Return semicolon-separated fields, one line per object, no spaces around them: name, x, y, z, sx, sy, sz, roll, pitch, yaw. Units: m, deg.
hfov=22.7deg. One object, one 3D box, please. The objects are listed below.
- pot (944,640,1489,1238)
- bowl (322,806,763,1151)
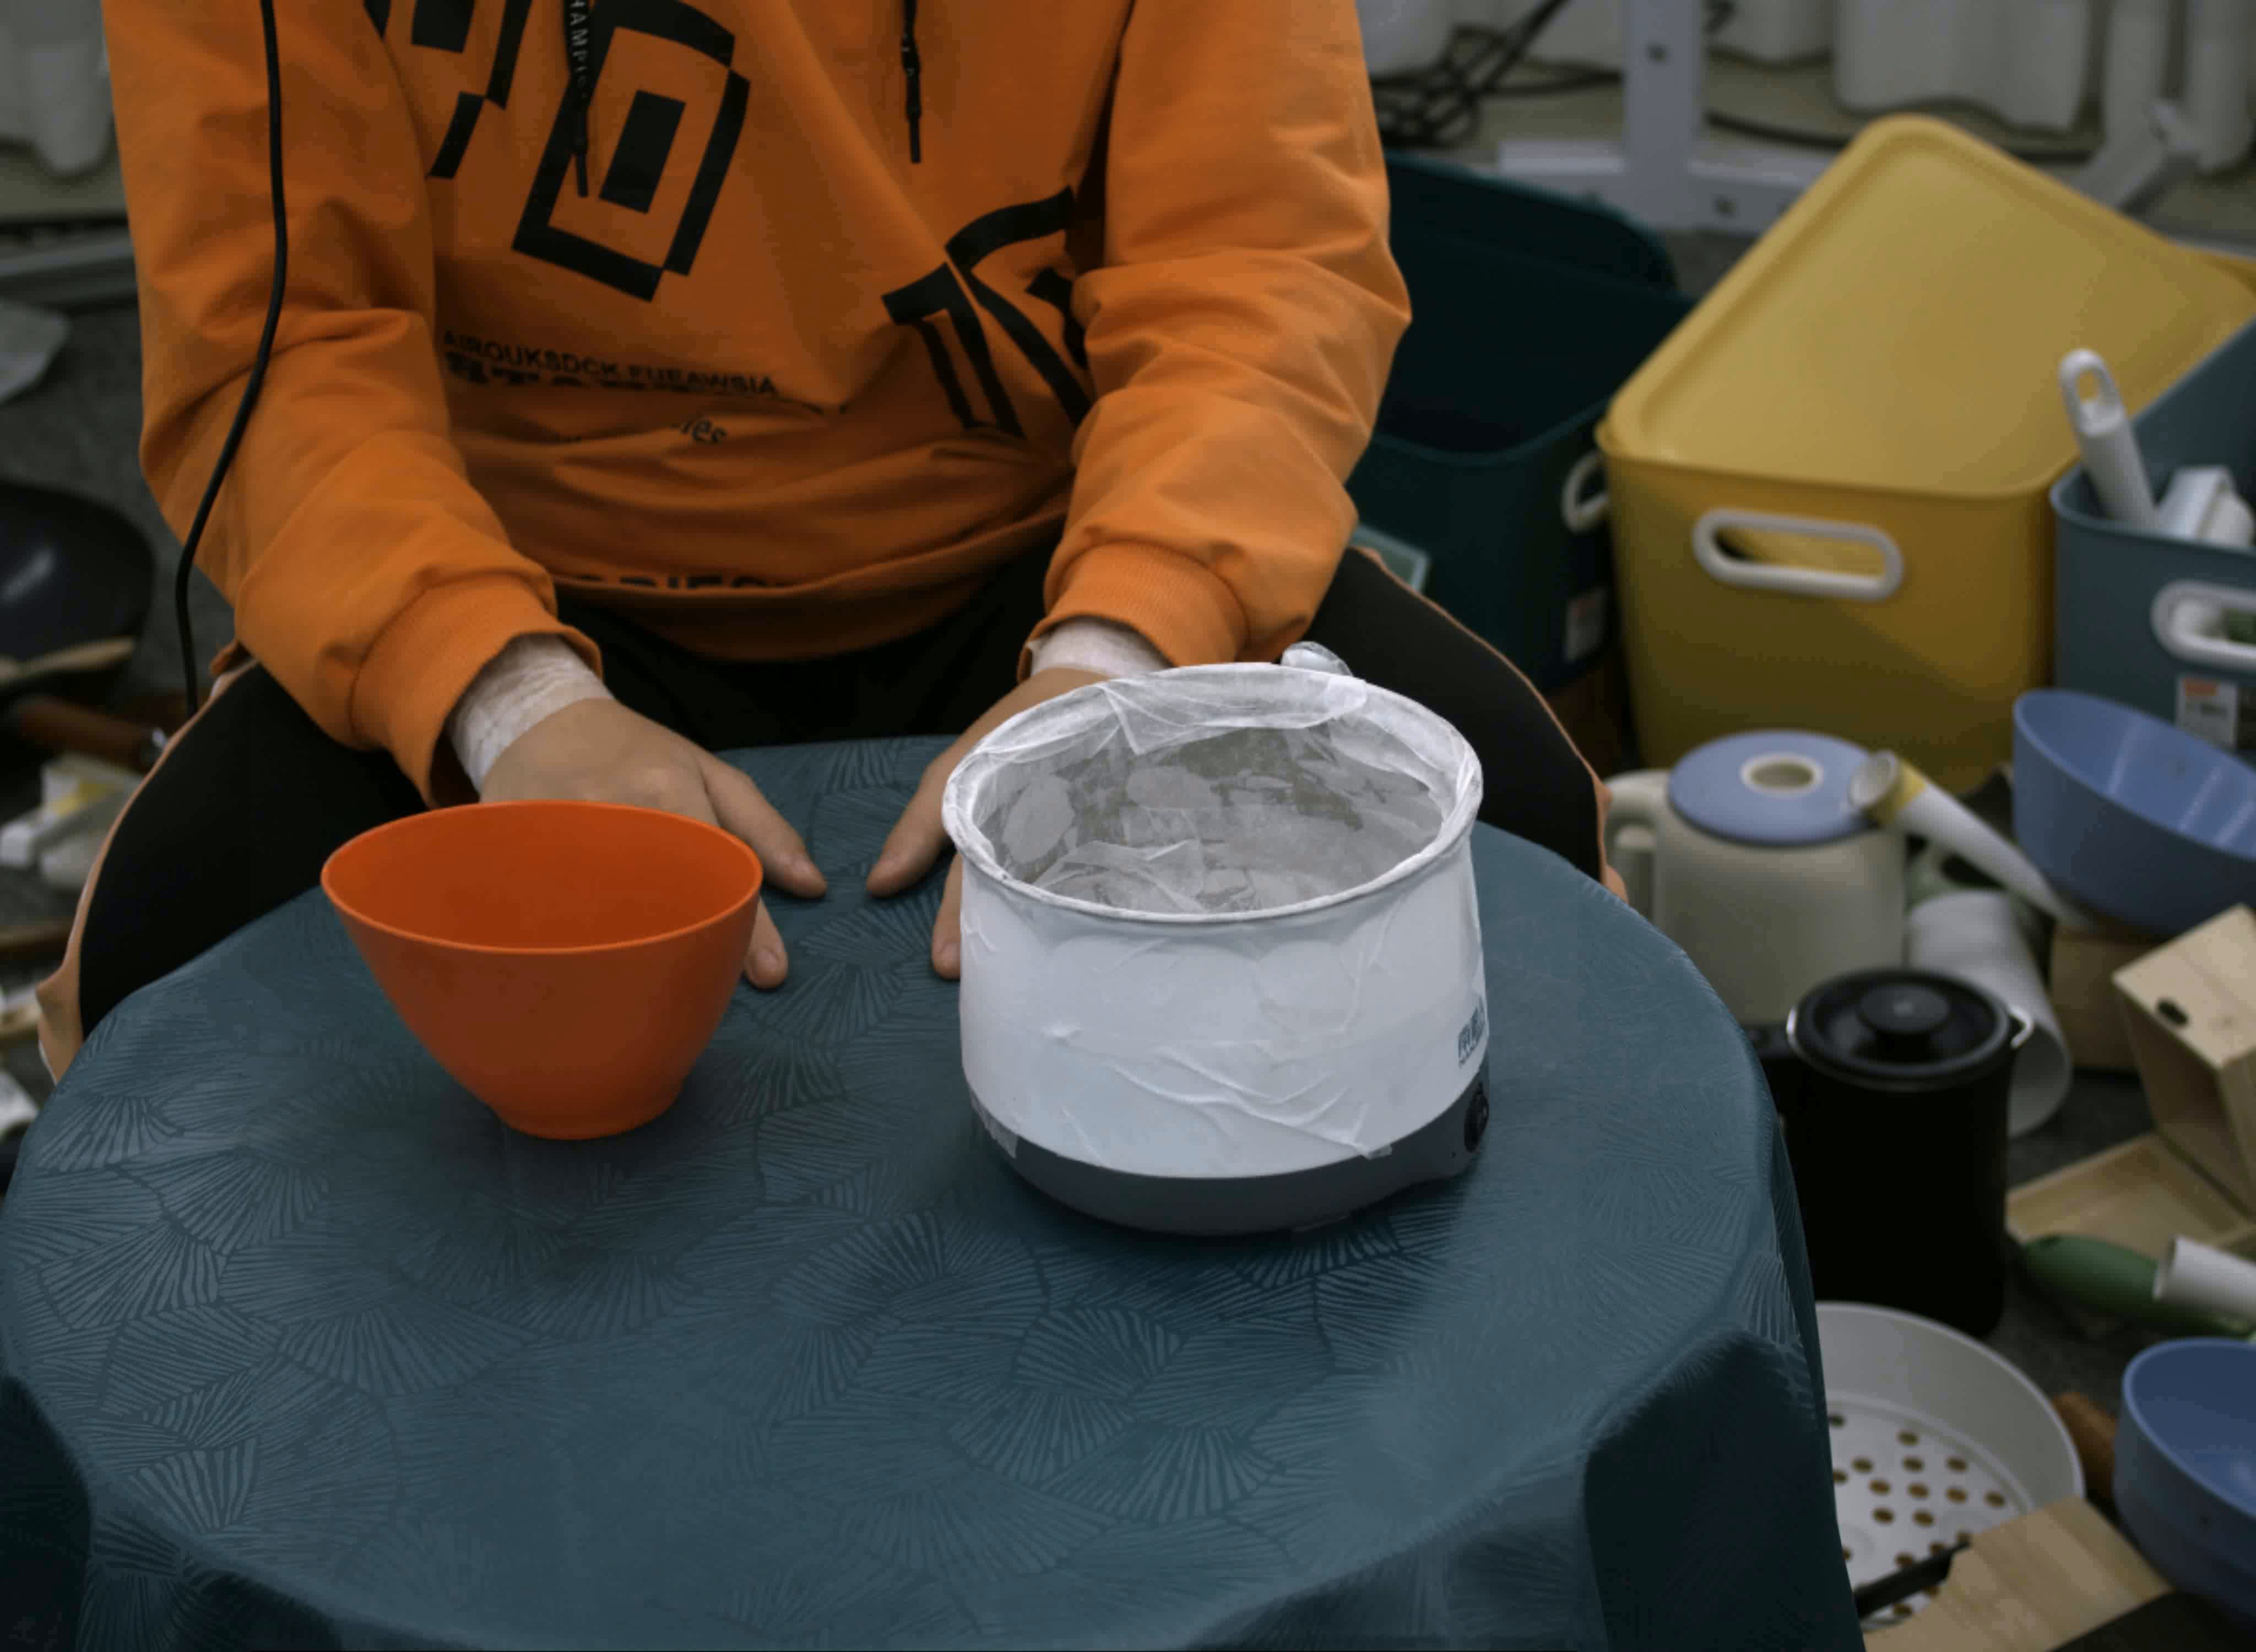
pot;0.039;0.030;1.887;0.177;0.135;0.238;6;29;17
bowl;-0.195;0.055;1.908;0.147;0.103;0.150;-1;26;1
